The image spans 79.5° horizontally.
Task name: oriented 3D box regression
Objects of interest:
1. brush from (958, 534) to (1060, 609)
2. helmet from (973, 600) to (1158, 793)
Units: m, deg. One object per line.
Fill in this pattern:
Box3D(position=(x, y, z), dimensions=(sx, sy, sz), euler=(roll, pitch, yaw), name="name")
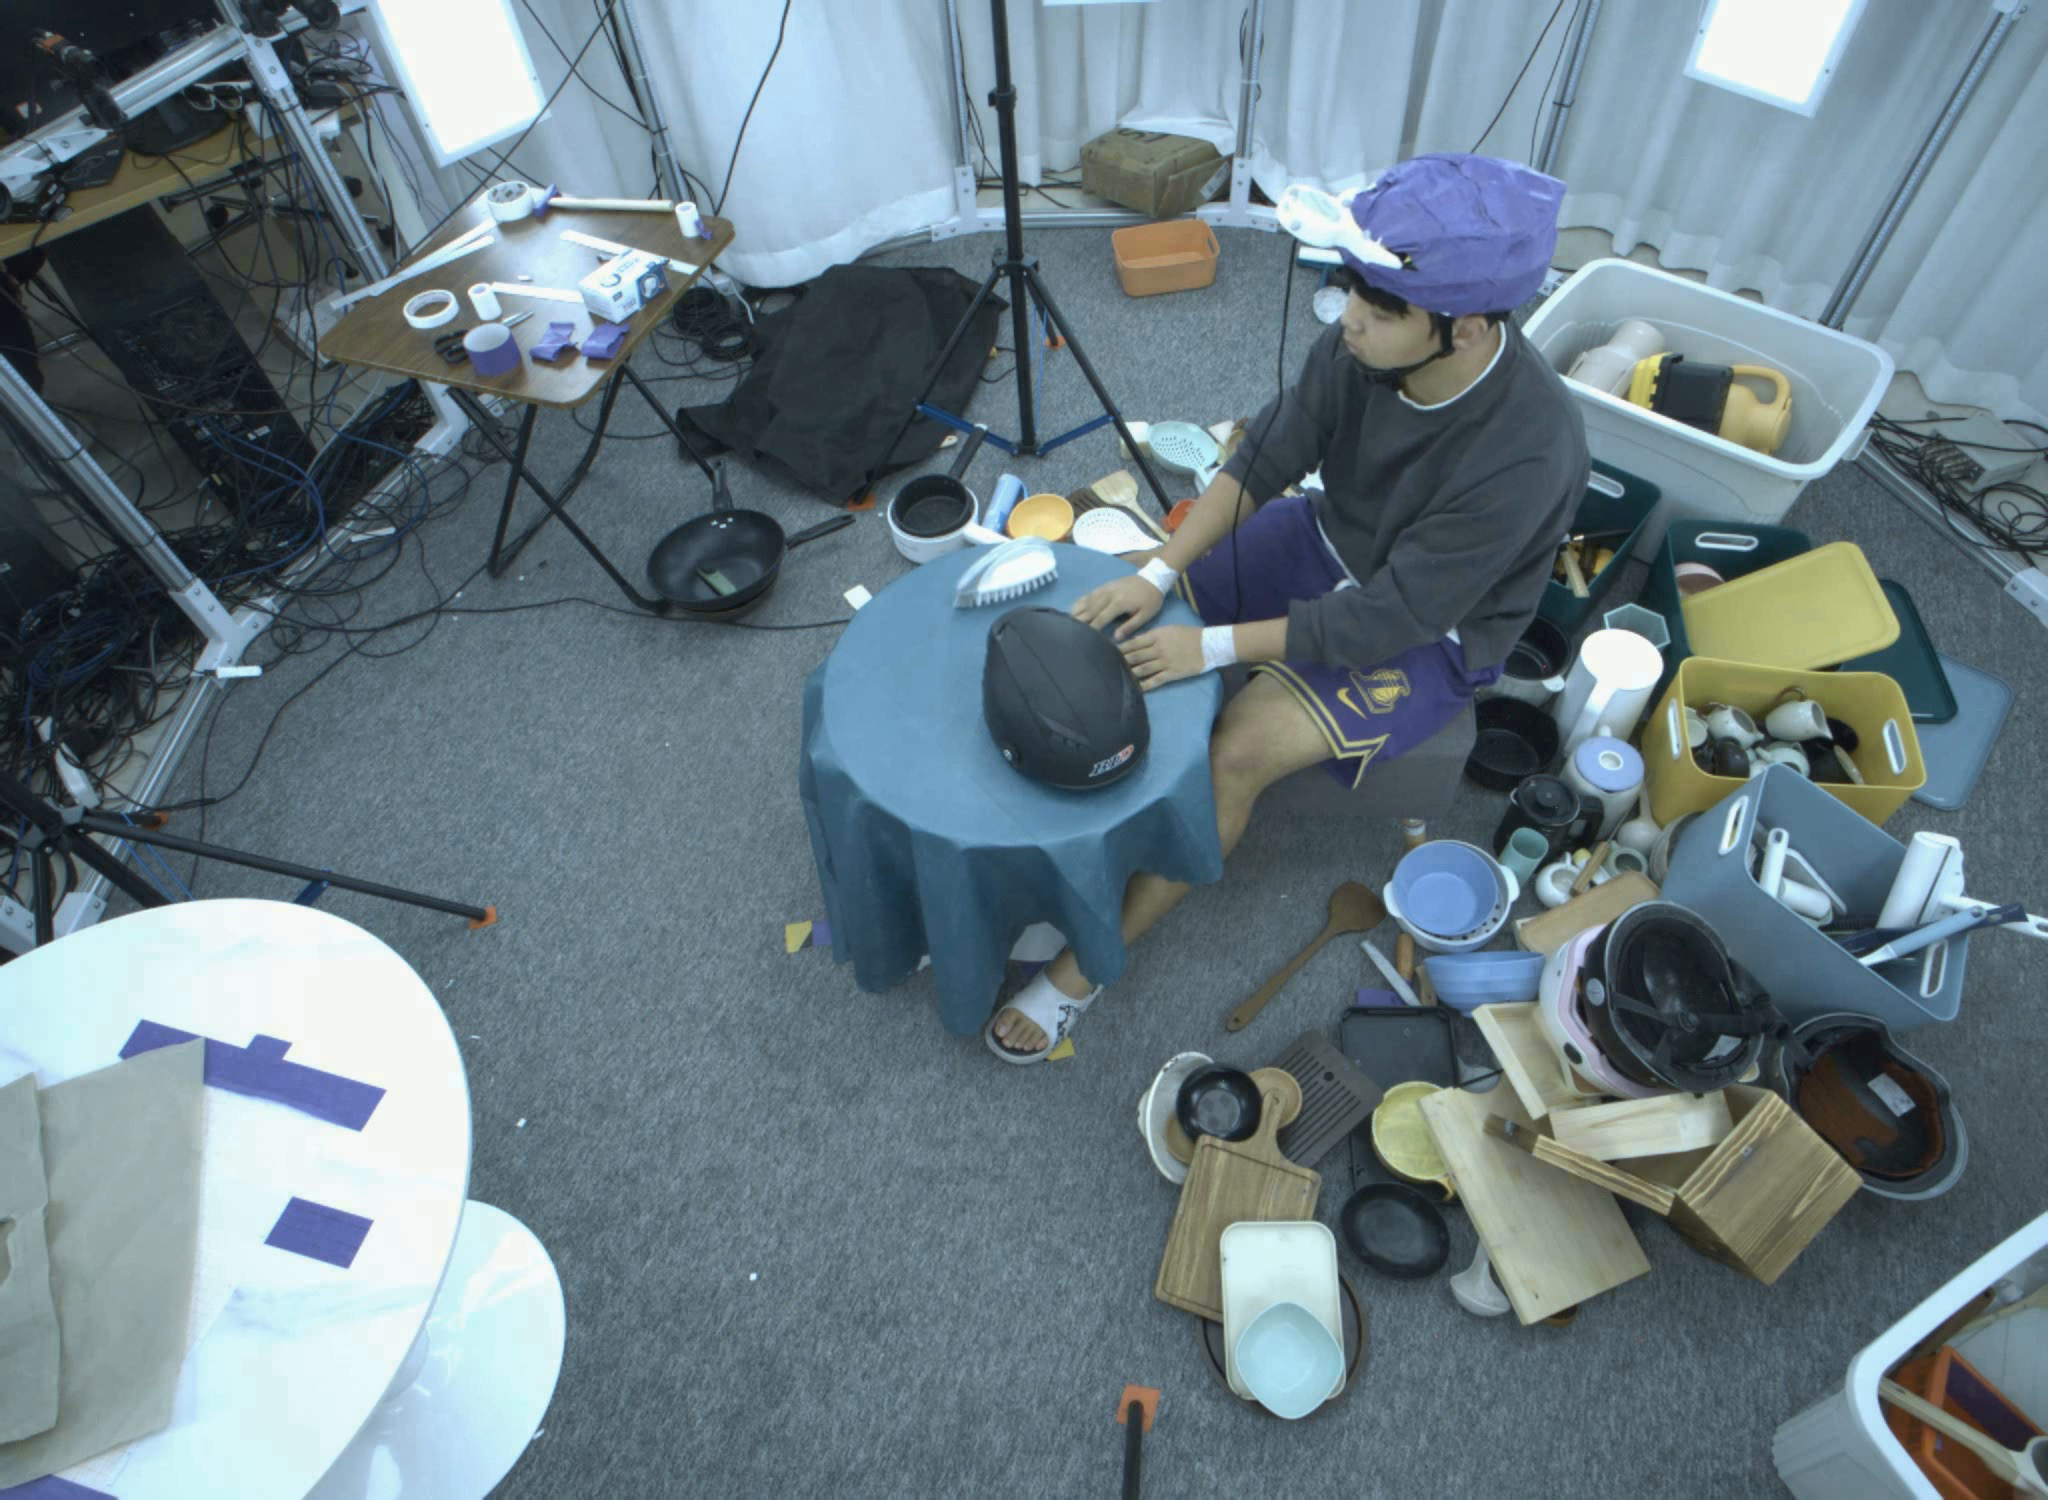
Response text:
Box3D(position=(-0.031, -0.286, 1.938), dimensions=(0.176, 0.095, 0.060), euler=(-25, 55, -12), name="brush")
Box3D(position=(0.052, -0.085, 1.751), dimensions=(0.248, 0.174, 0.271), euler=(-27, 54, -15), name="helmet")
